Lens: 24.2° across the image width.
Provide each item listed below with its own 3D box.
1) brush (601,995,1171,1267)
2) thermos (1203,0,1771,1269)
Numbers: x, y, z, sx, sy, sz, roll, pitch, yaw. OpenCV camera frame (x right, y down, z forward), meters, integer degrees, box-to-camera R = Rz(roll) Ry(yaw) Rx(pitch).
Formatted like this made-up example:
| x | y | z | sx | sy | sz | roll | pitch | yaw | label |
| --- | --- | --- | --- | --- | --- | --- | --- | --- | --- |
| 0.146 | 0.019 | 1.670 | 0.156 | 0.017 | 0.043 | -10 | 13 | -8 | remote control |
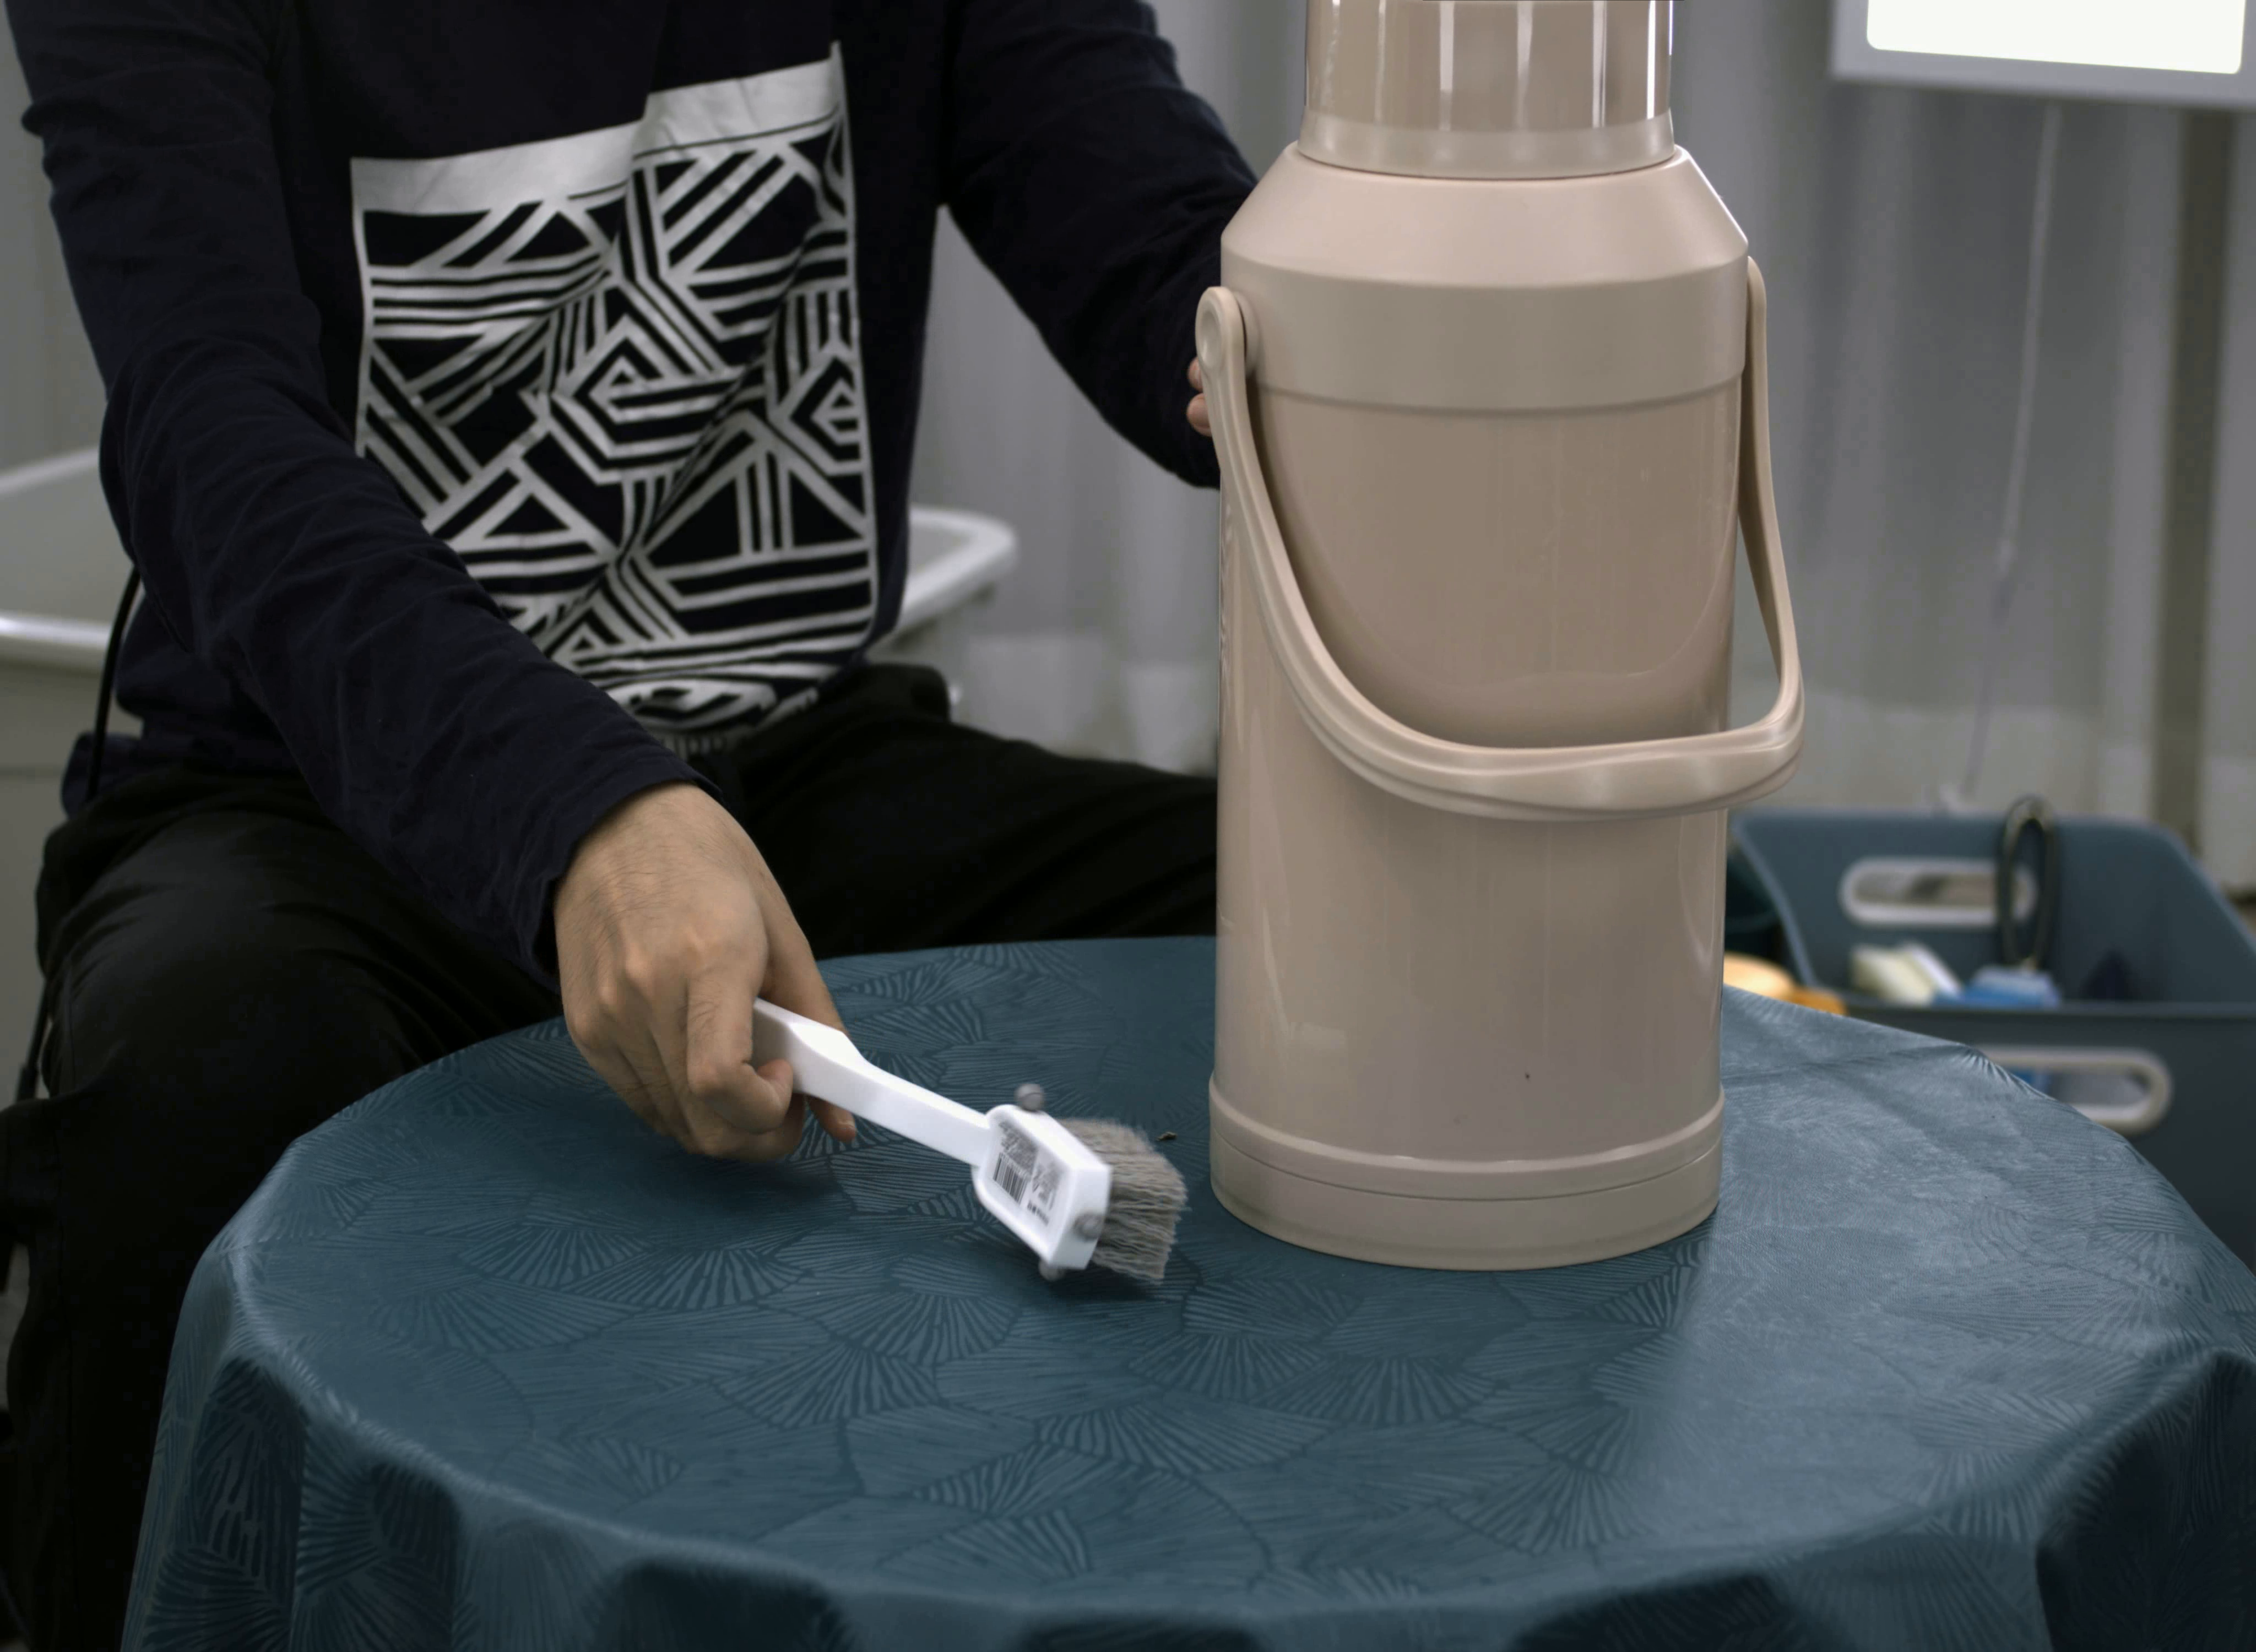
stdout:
| x | y | z | sx | sy | sz | roll | pitch | yaw | label |
| --- | --- | --- | --- | --- | --- | --- | --- | --- | --- |
| -0.074 | 0.086 | 1.606 | 0.050 | 0.034 | 0.240 | -13 | 21 | -40 | brush |
| 0.104 | -0.084 | 1.592 | 0.176 | 0.410 | 0.204 | -8 | 18 | -21 | thermos |
